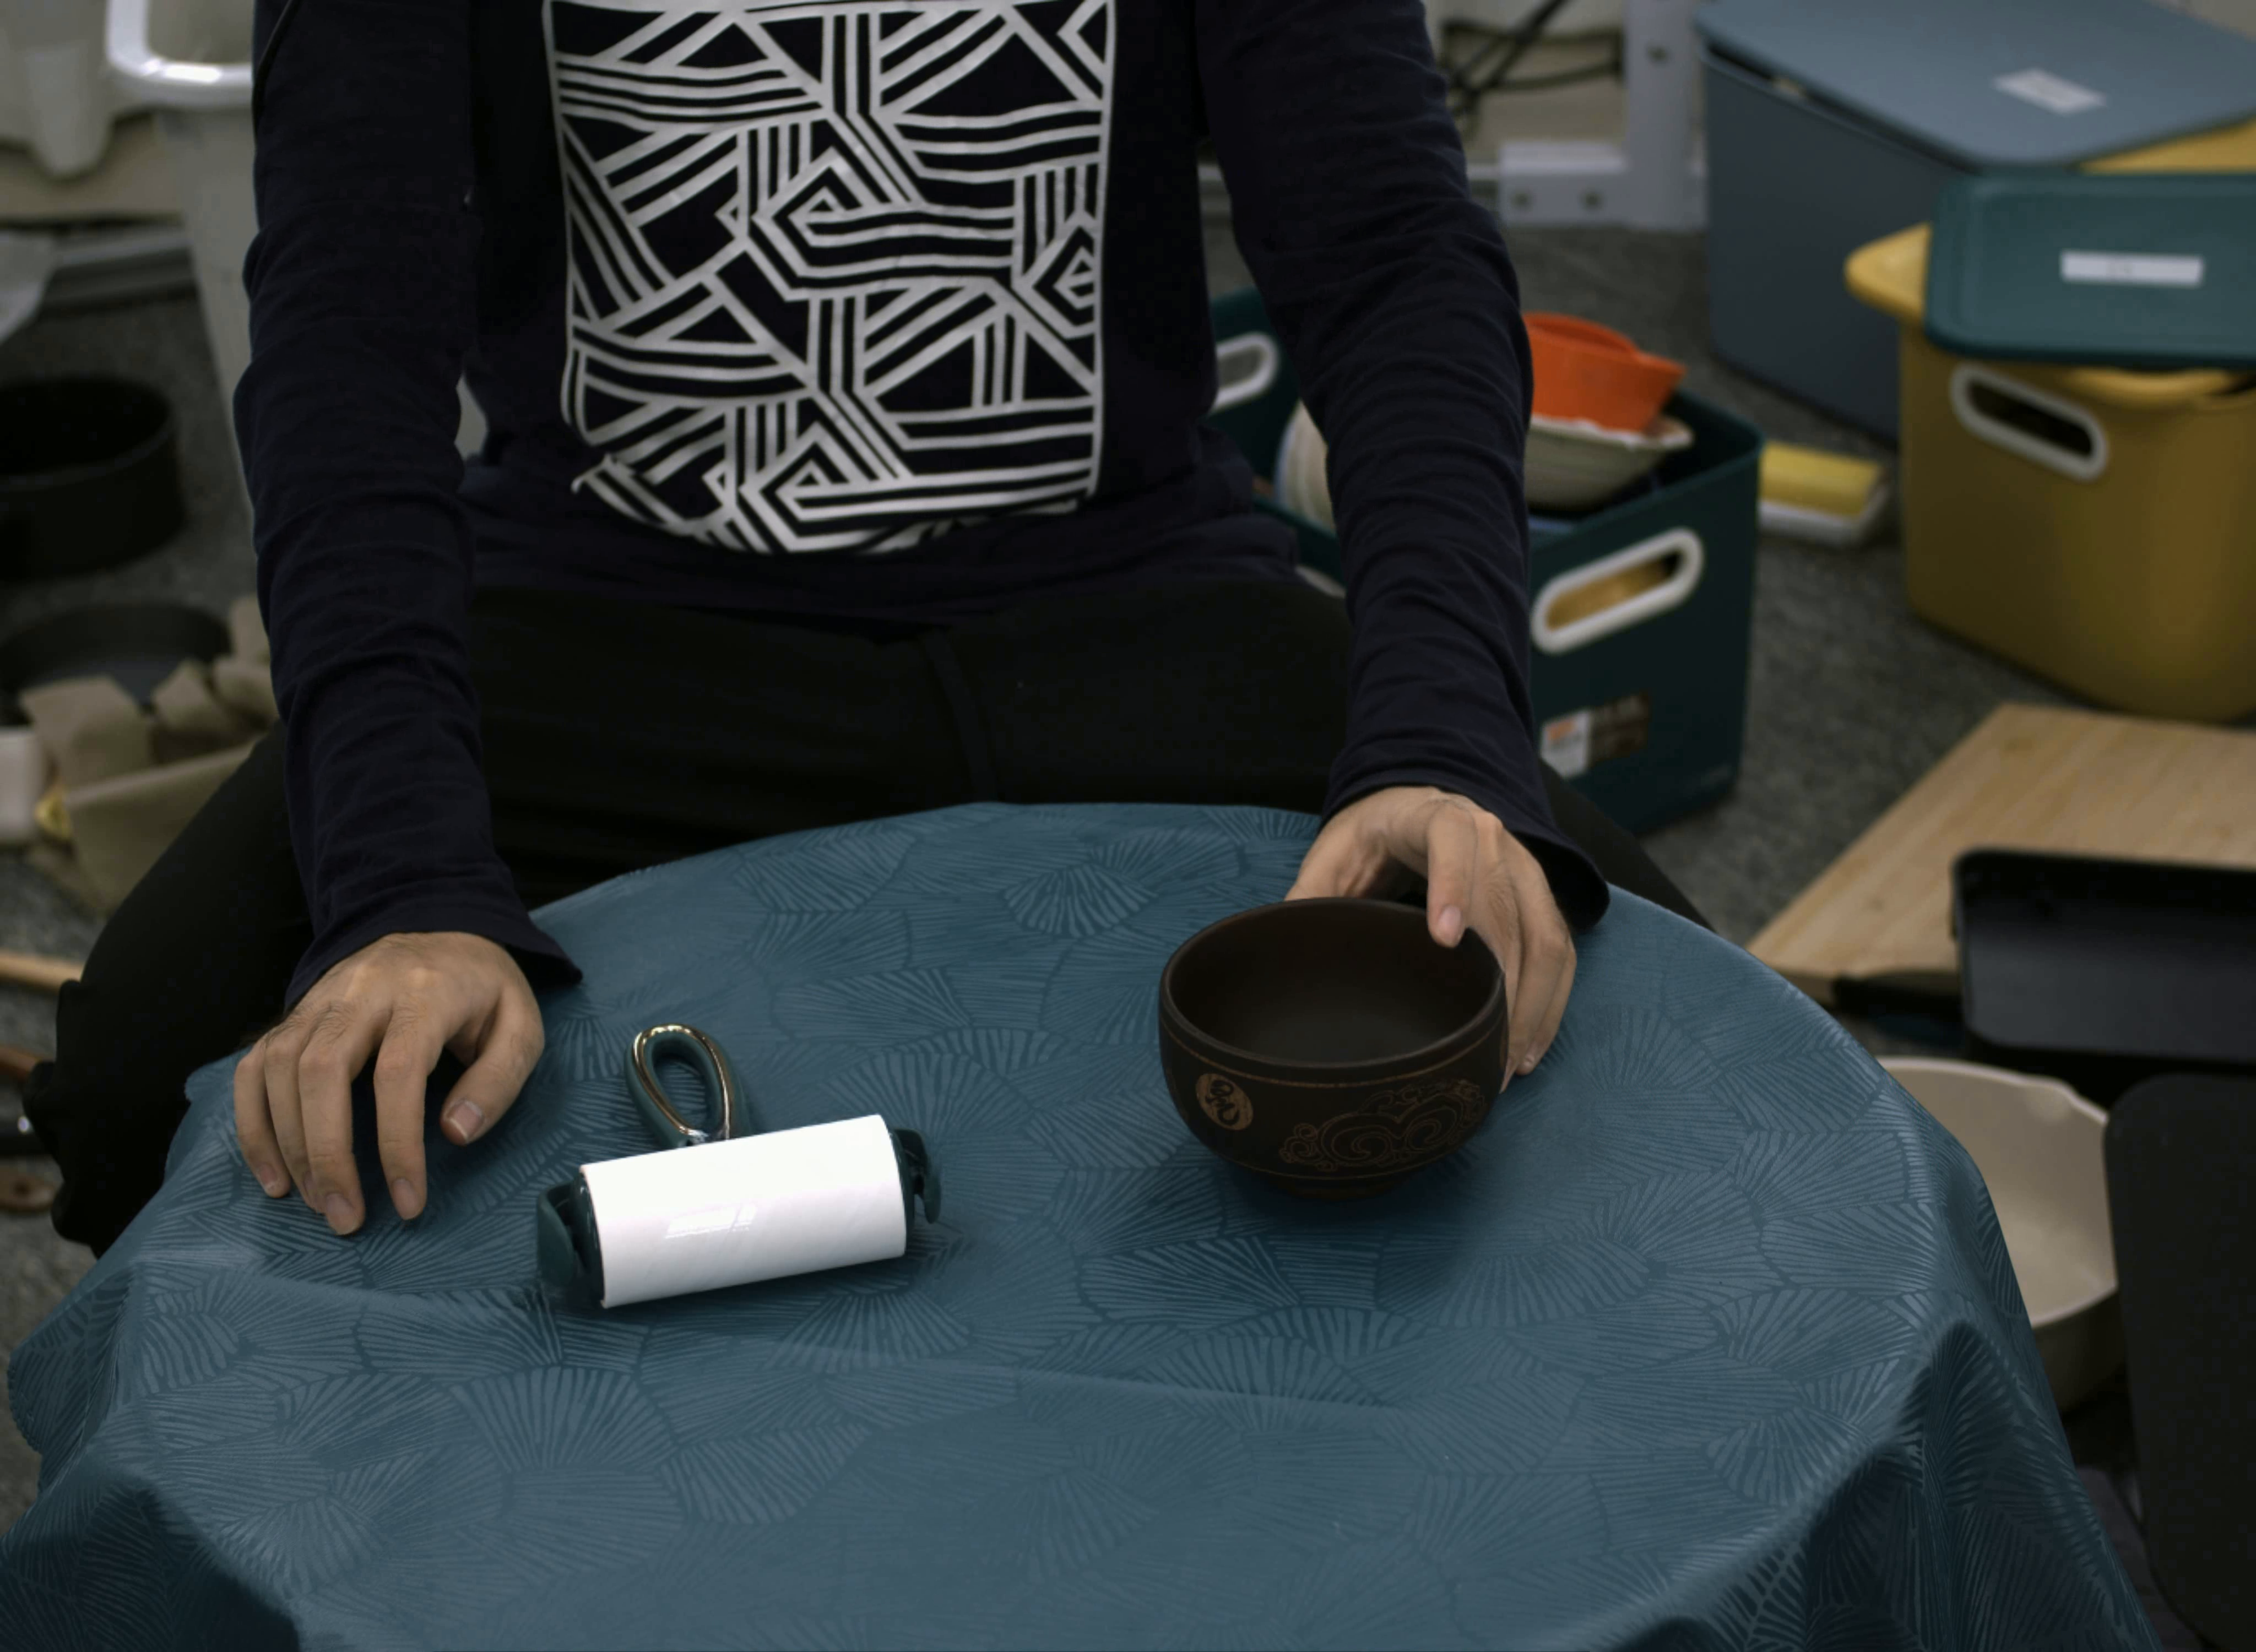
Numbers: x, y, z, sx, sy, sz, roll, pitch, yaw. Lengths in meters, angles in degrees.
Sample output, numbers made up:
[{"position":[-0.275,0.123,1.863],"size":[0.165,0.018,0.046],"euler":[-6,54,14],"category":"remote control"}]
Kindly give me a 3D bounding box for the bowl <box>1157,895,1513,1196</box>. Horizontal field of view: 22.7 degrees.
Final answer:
[{"position":[0.069,0.079,1.859],"size":[0.117,0.069,0.120],"euler":[-4,25,2],"category":"bowl"}]

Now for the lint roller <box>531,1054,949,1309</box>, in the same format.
[{"position":[-0.143,0.099,1.876],"size":[0.134,0.048,0.182],"euler":[-9,25,-12],"category":"lint roller"}]
